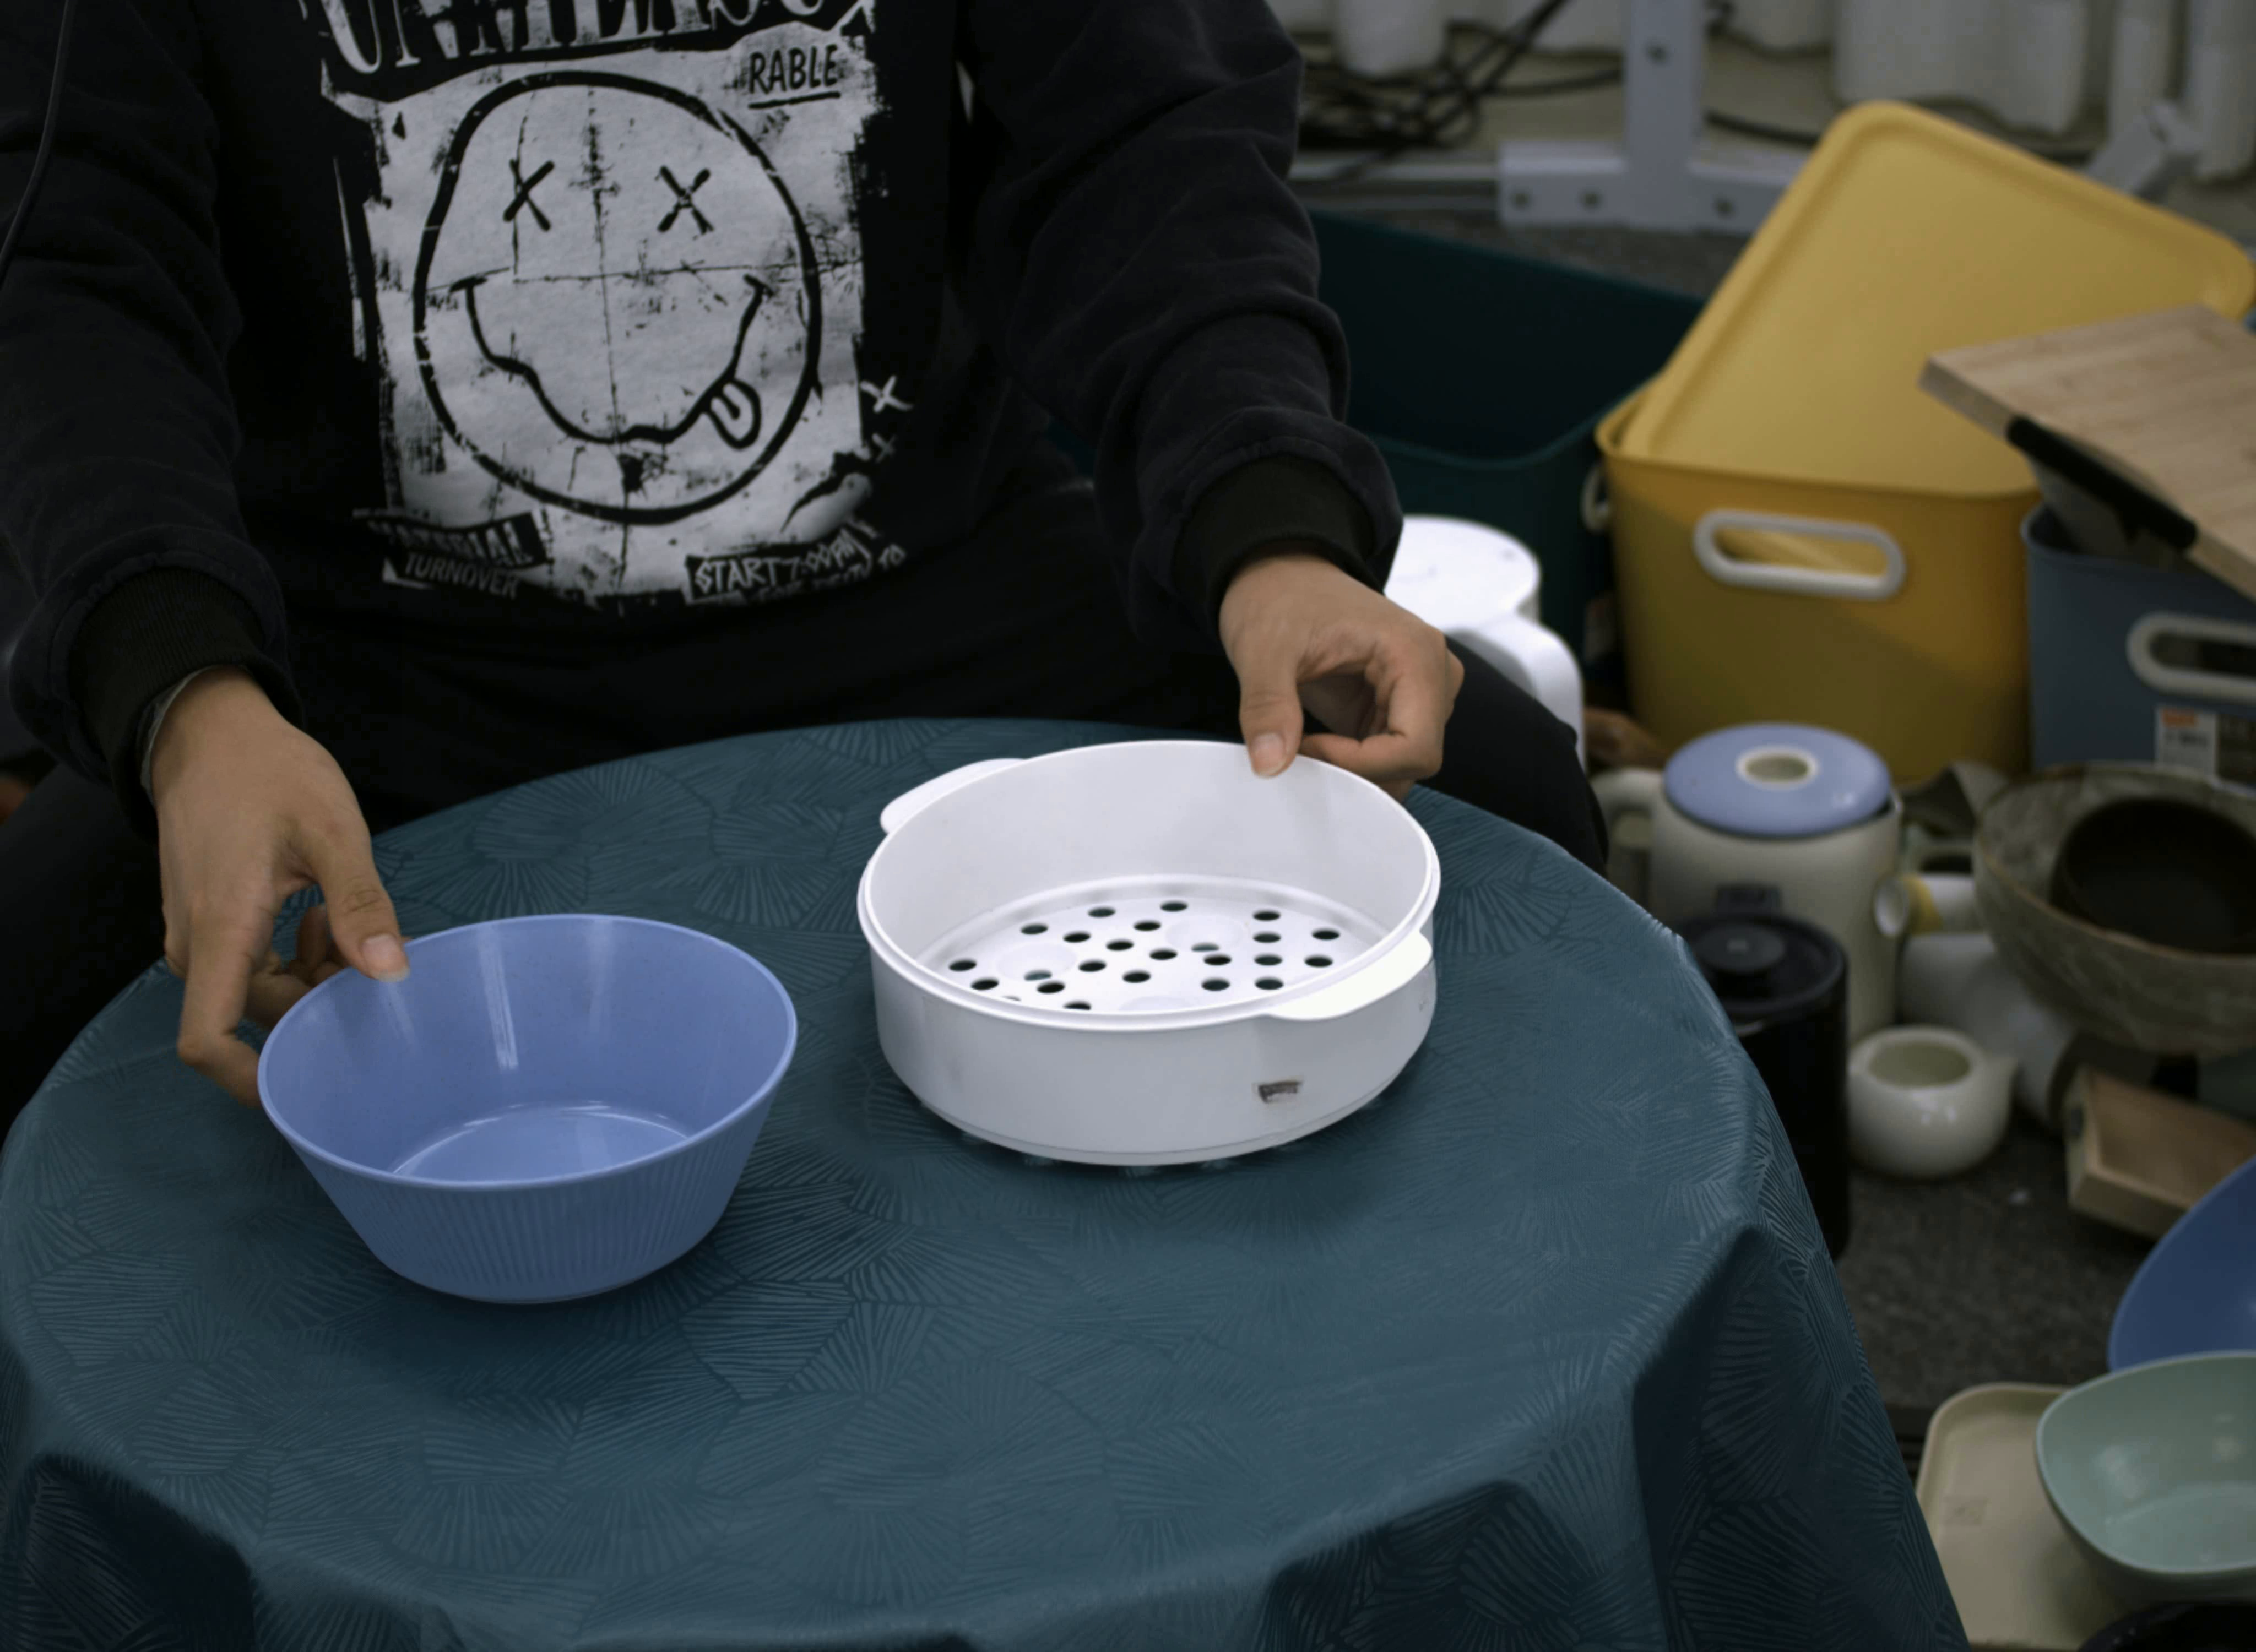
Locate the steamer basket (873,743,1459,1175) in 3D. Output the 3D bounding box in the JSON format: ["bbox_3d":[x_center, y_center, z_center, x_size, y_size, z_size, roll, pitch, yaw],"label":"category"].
[{"bbox_3d":[0.013,0.046,1.933,0.204,0.068,0.230,-26,37,-37],"label":"steamer basket"}]

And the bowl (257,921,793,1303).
[{"bbox_3d":[-0.195,0.100,1.846,0.175,0.069,0.179,-1,27,1],"label":"bowl"}]
